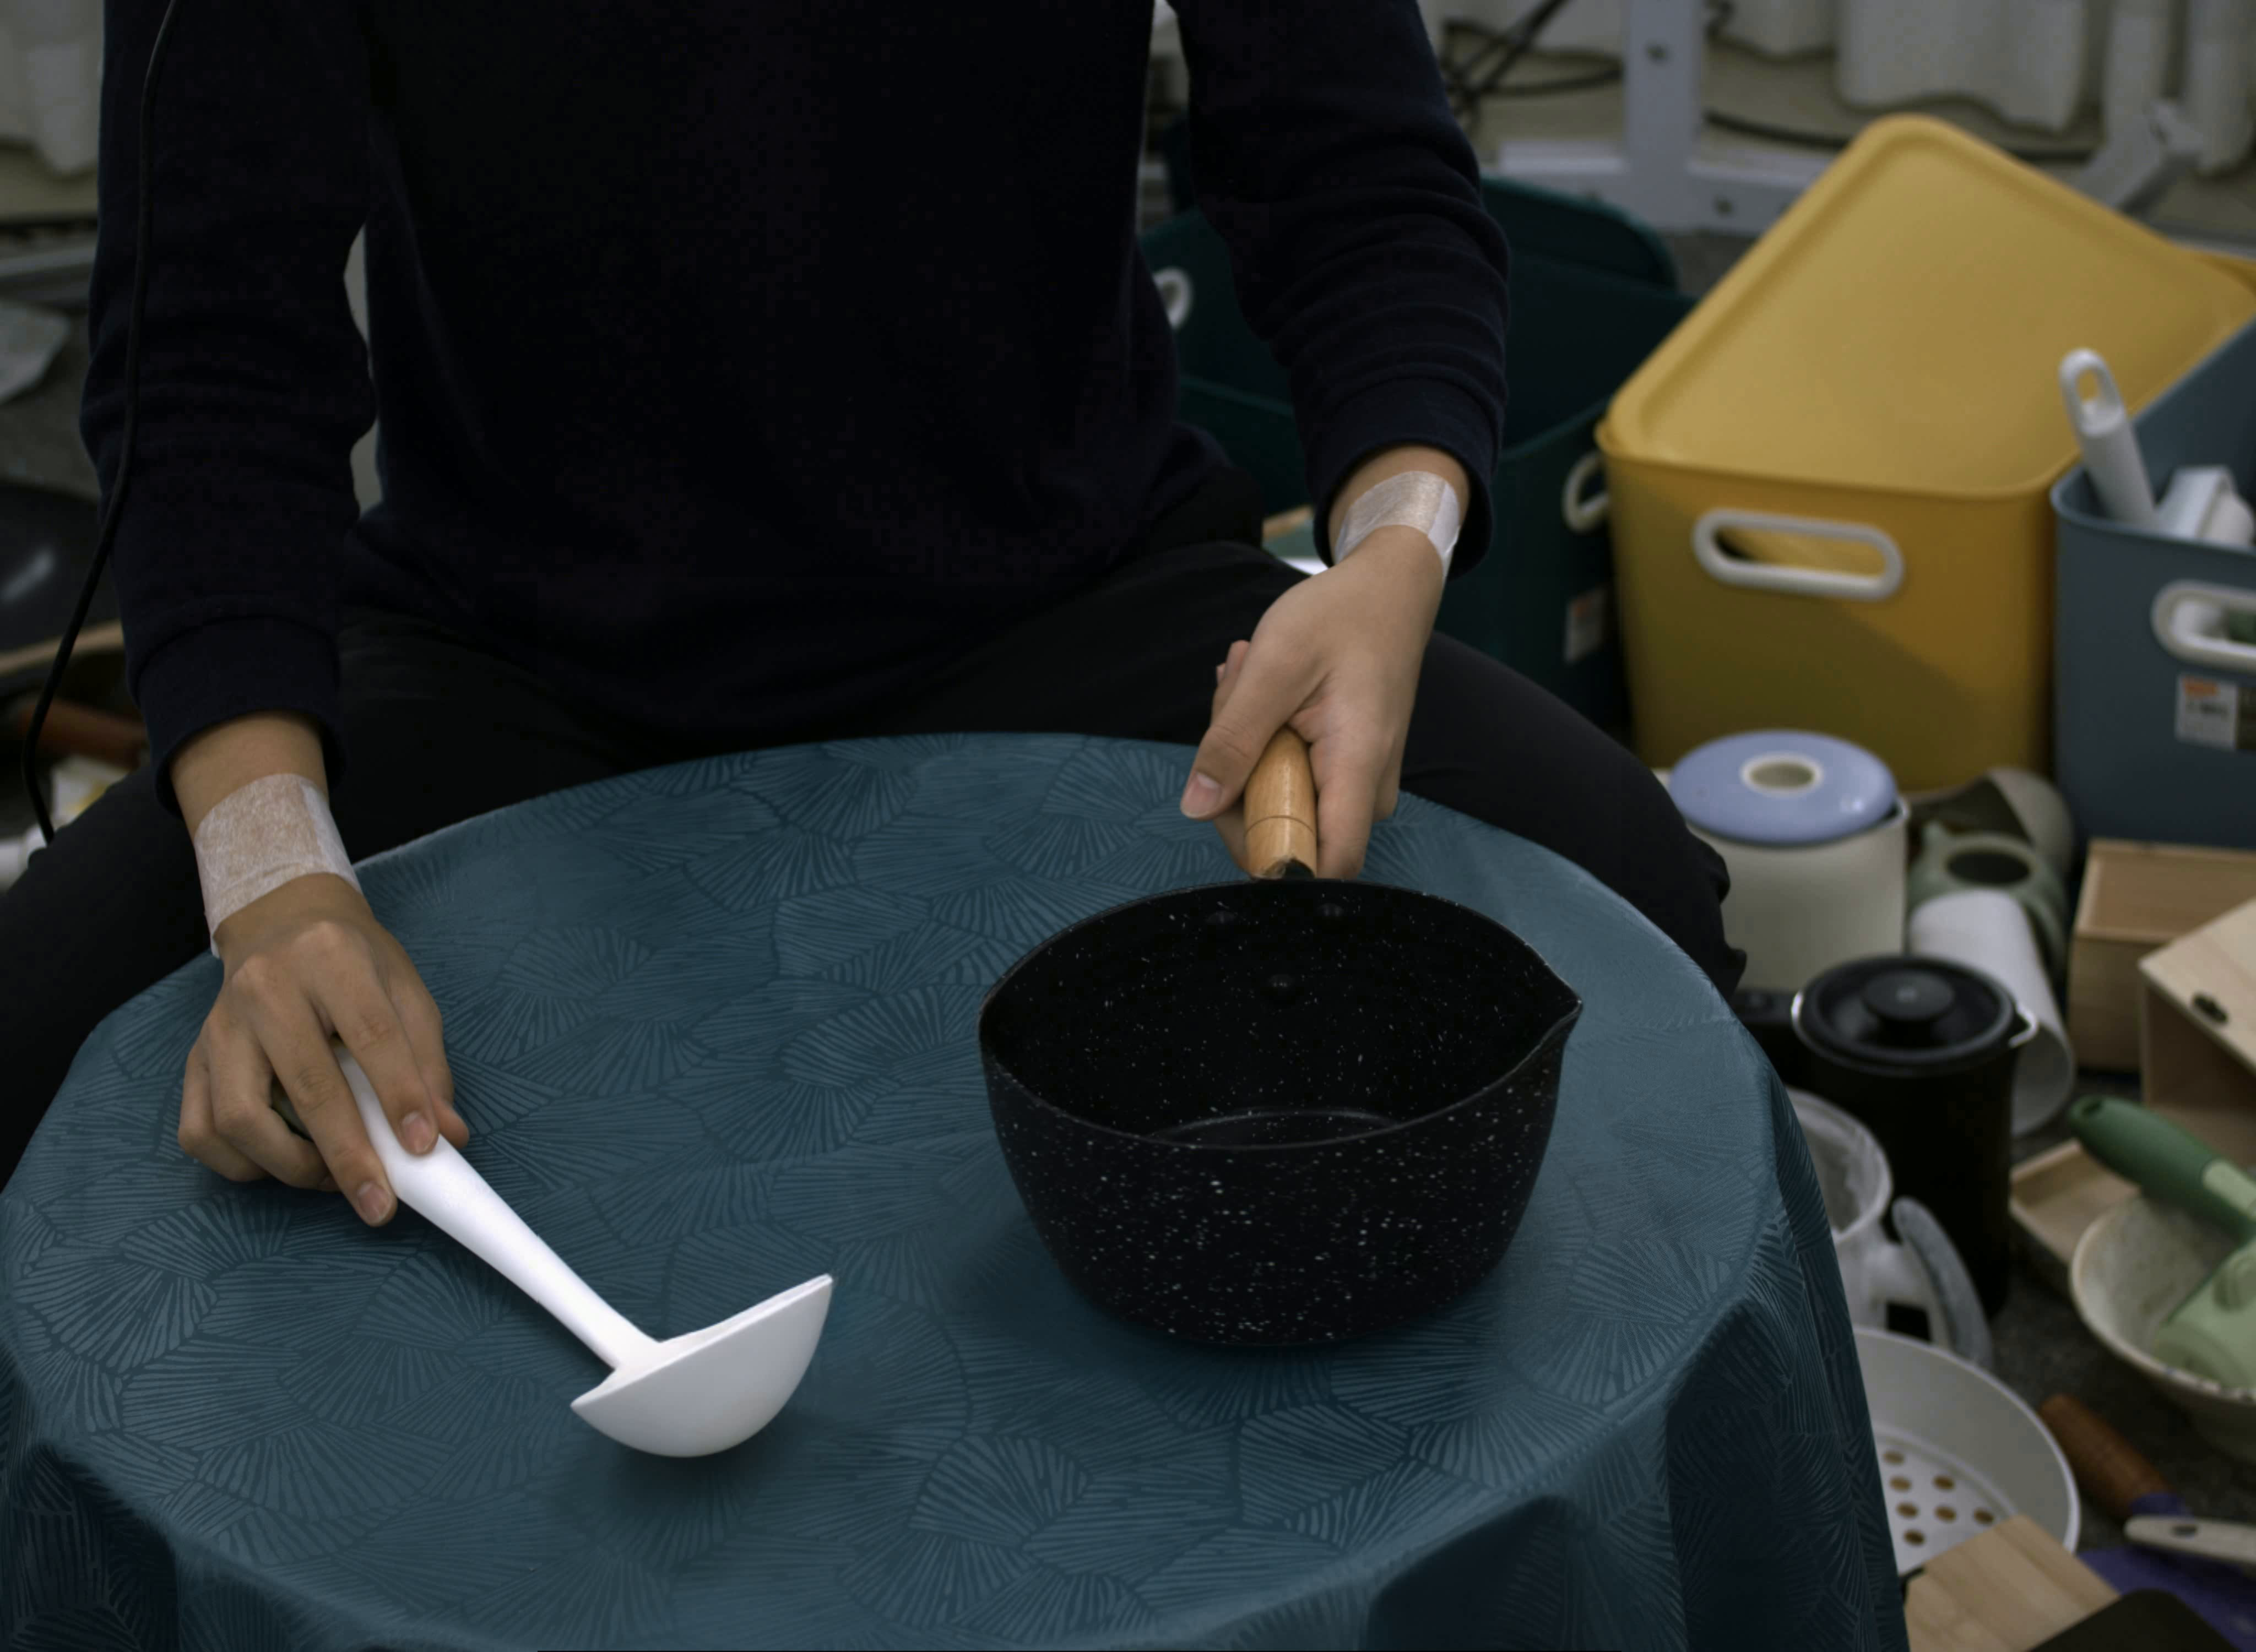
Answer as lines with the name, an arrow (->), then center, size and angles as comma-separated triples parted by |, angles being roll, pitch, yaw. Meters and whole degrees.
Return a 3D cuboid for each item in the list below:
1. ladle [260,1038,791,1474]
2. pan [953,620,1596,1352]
ladle -> -0.204, 0.127, 1.800 | 0.091, 0.069, 0.294 | -32, 38, -21
pan -> 0.049, 0.050, 1.881 | 0.206, 0.107, 0.348 | -3, 27, 2
